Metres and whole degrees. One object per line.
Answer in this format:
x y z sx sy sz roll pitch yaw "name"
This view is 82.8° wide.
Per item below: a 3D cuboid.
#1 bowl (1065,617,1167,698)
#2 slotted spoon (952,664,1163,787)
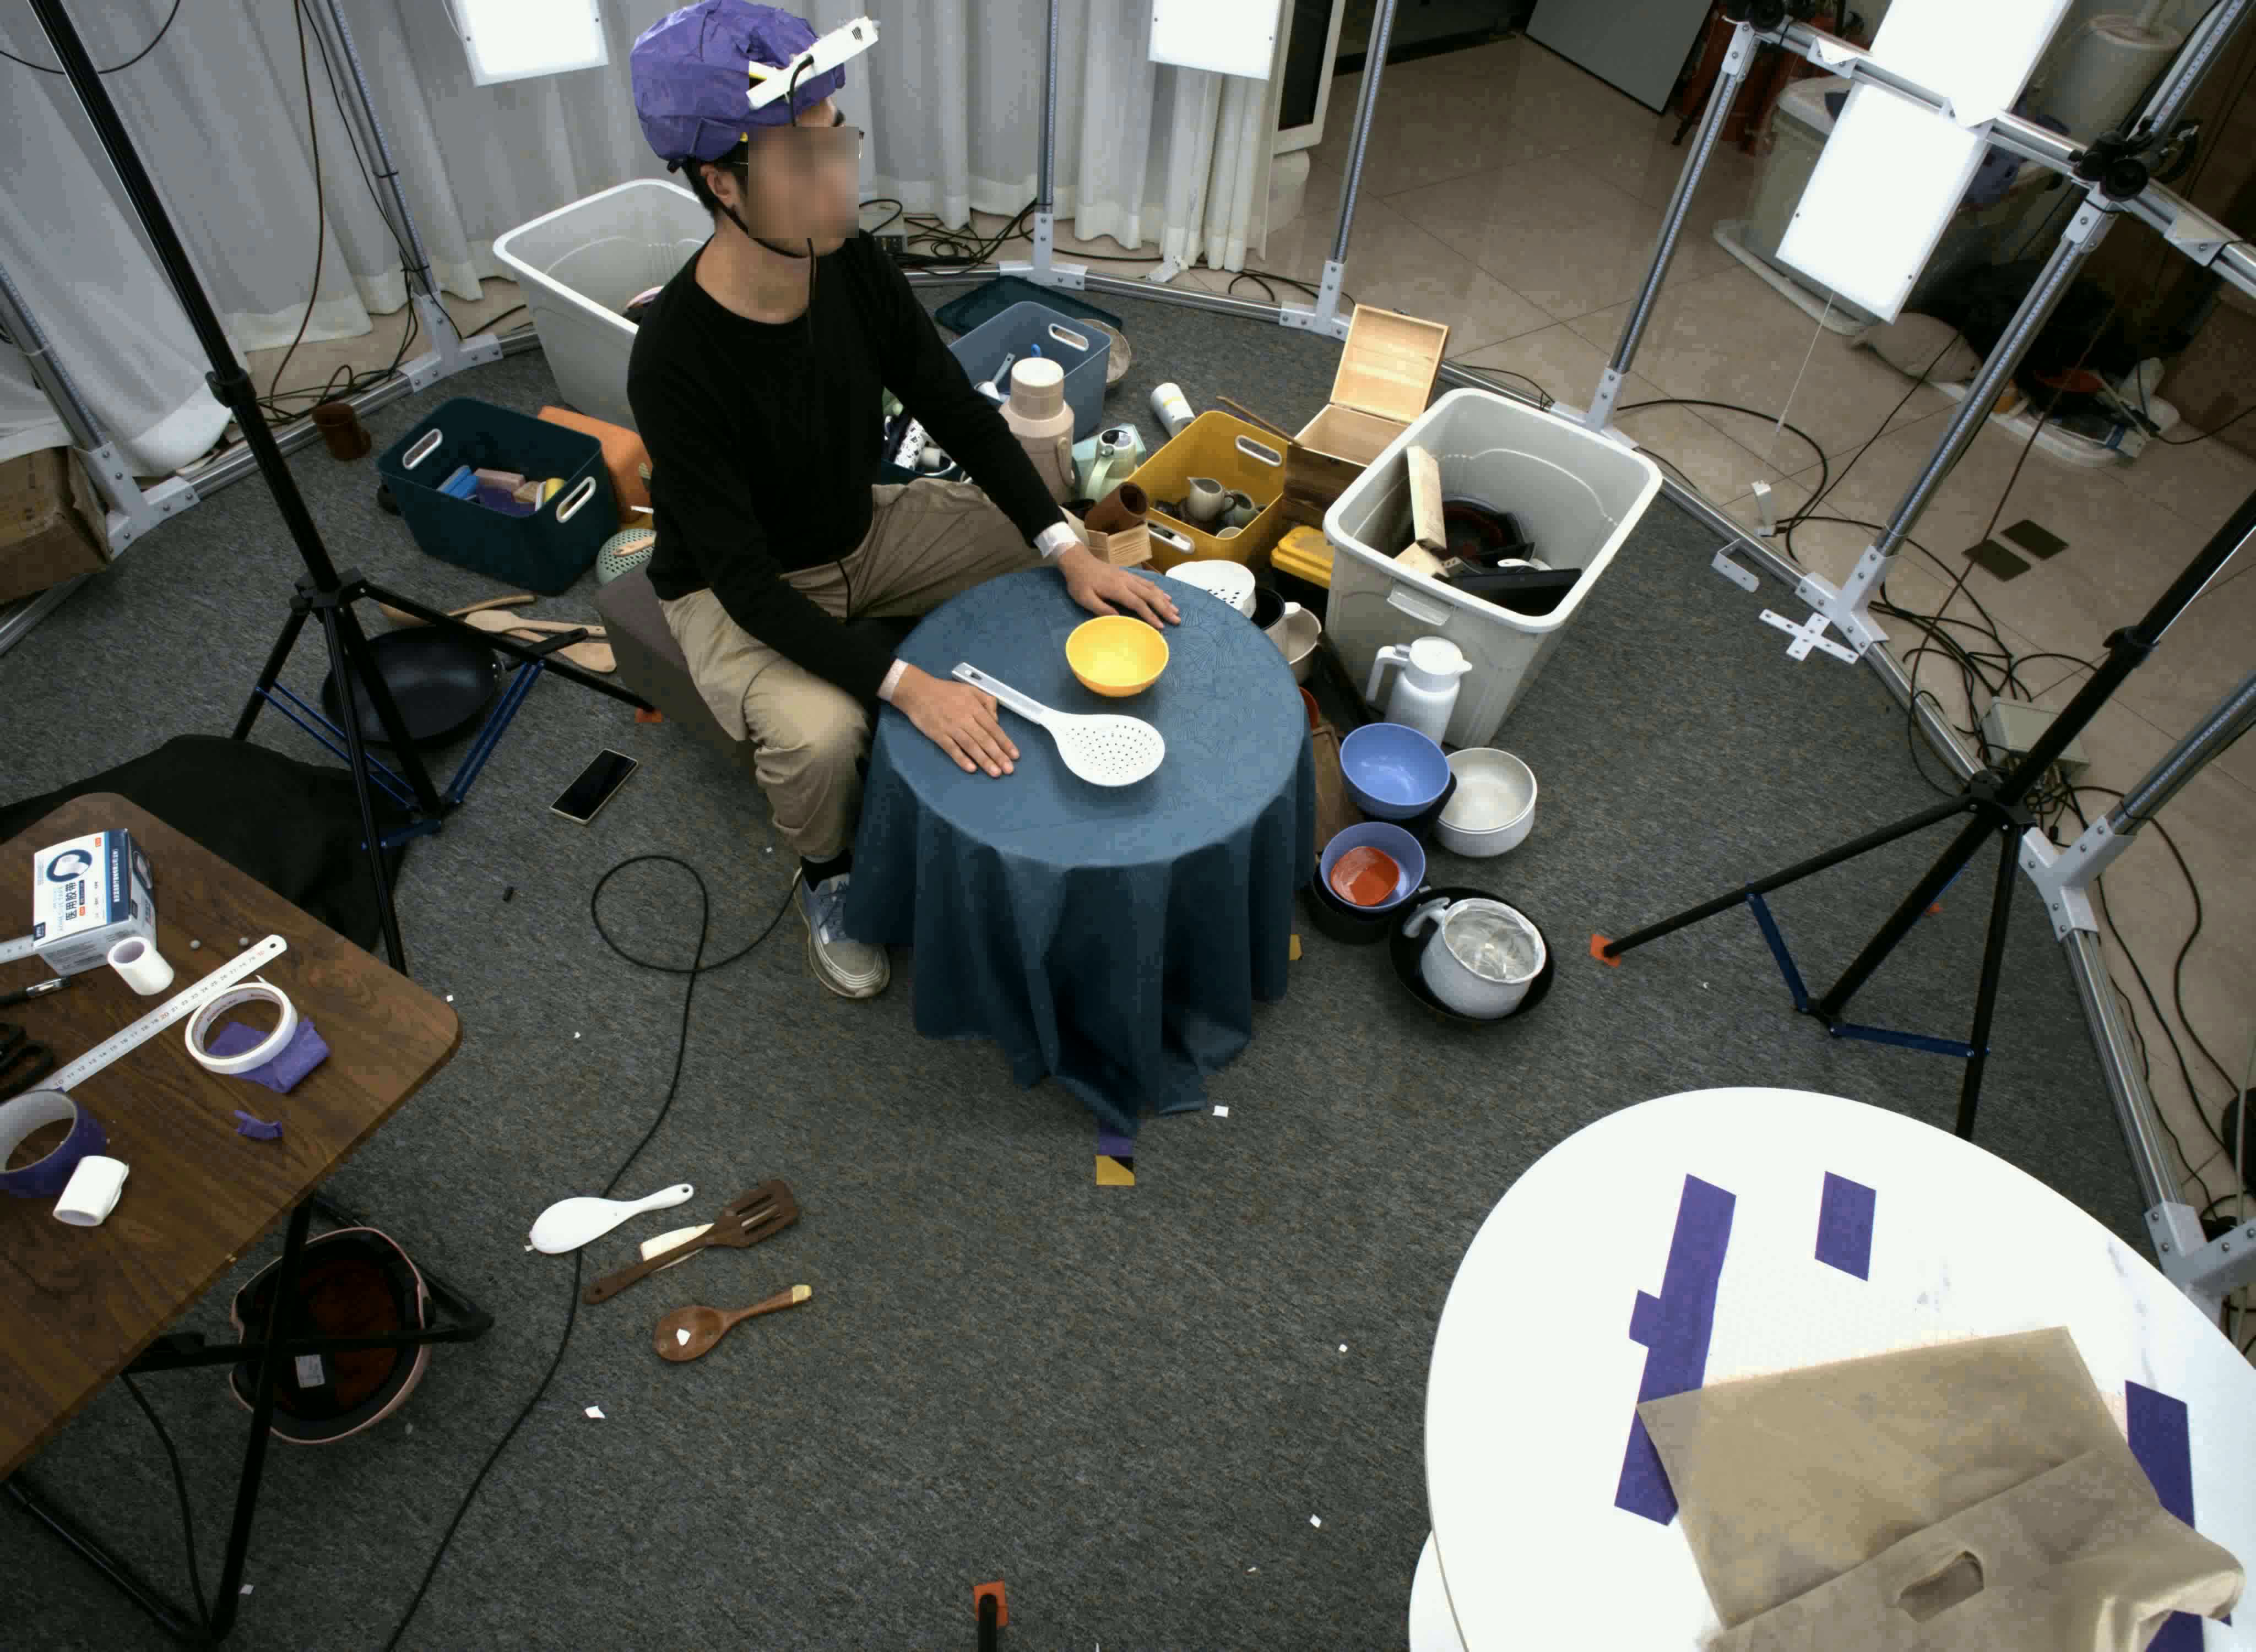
-0.019 -0.229 1.831 0.145 0.058 0.149 3 48 -4 "bowl"
-0.106 -0.145 1.759 0.354 0.044 0.138 32 54 23 "slotted spoon"
